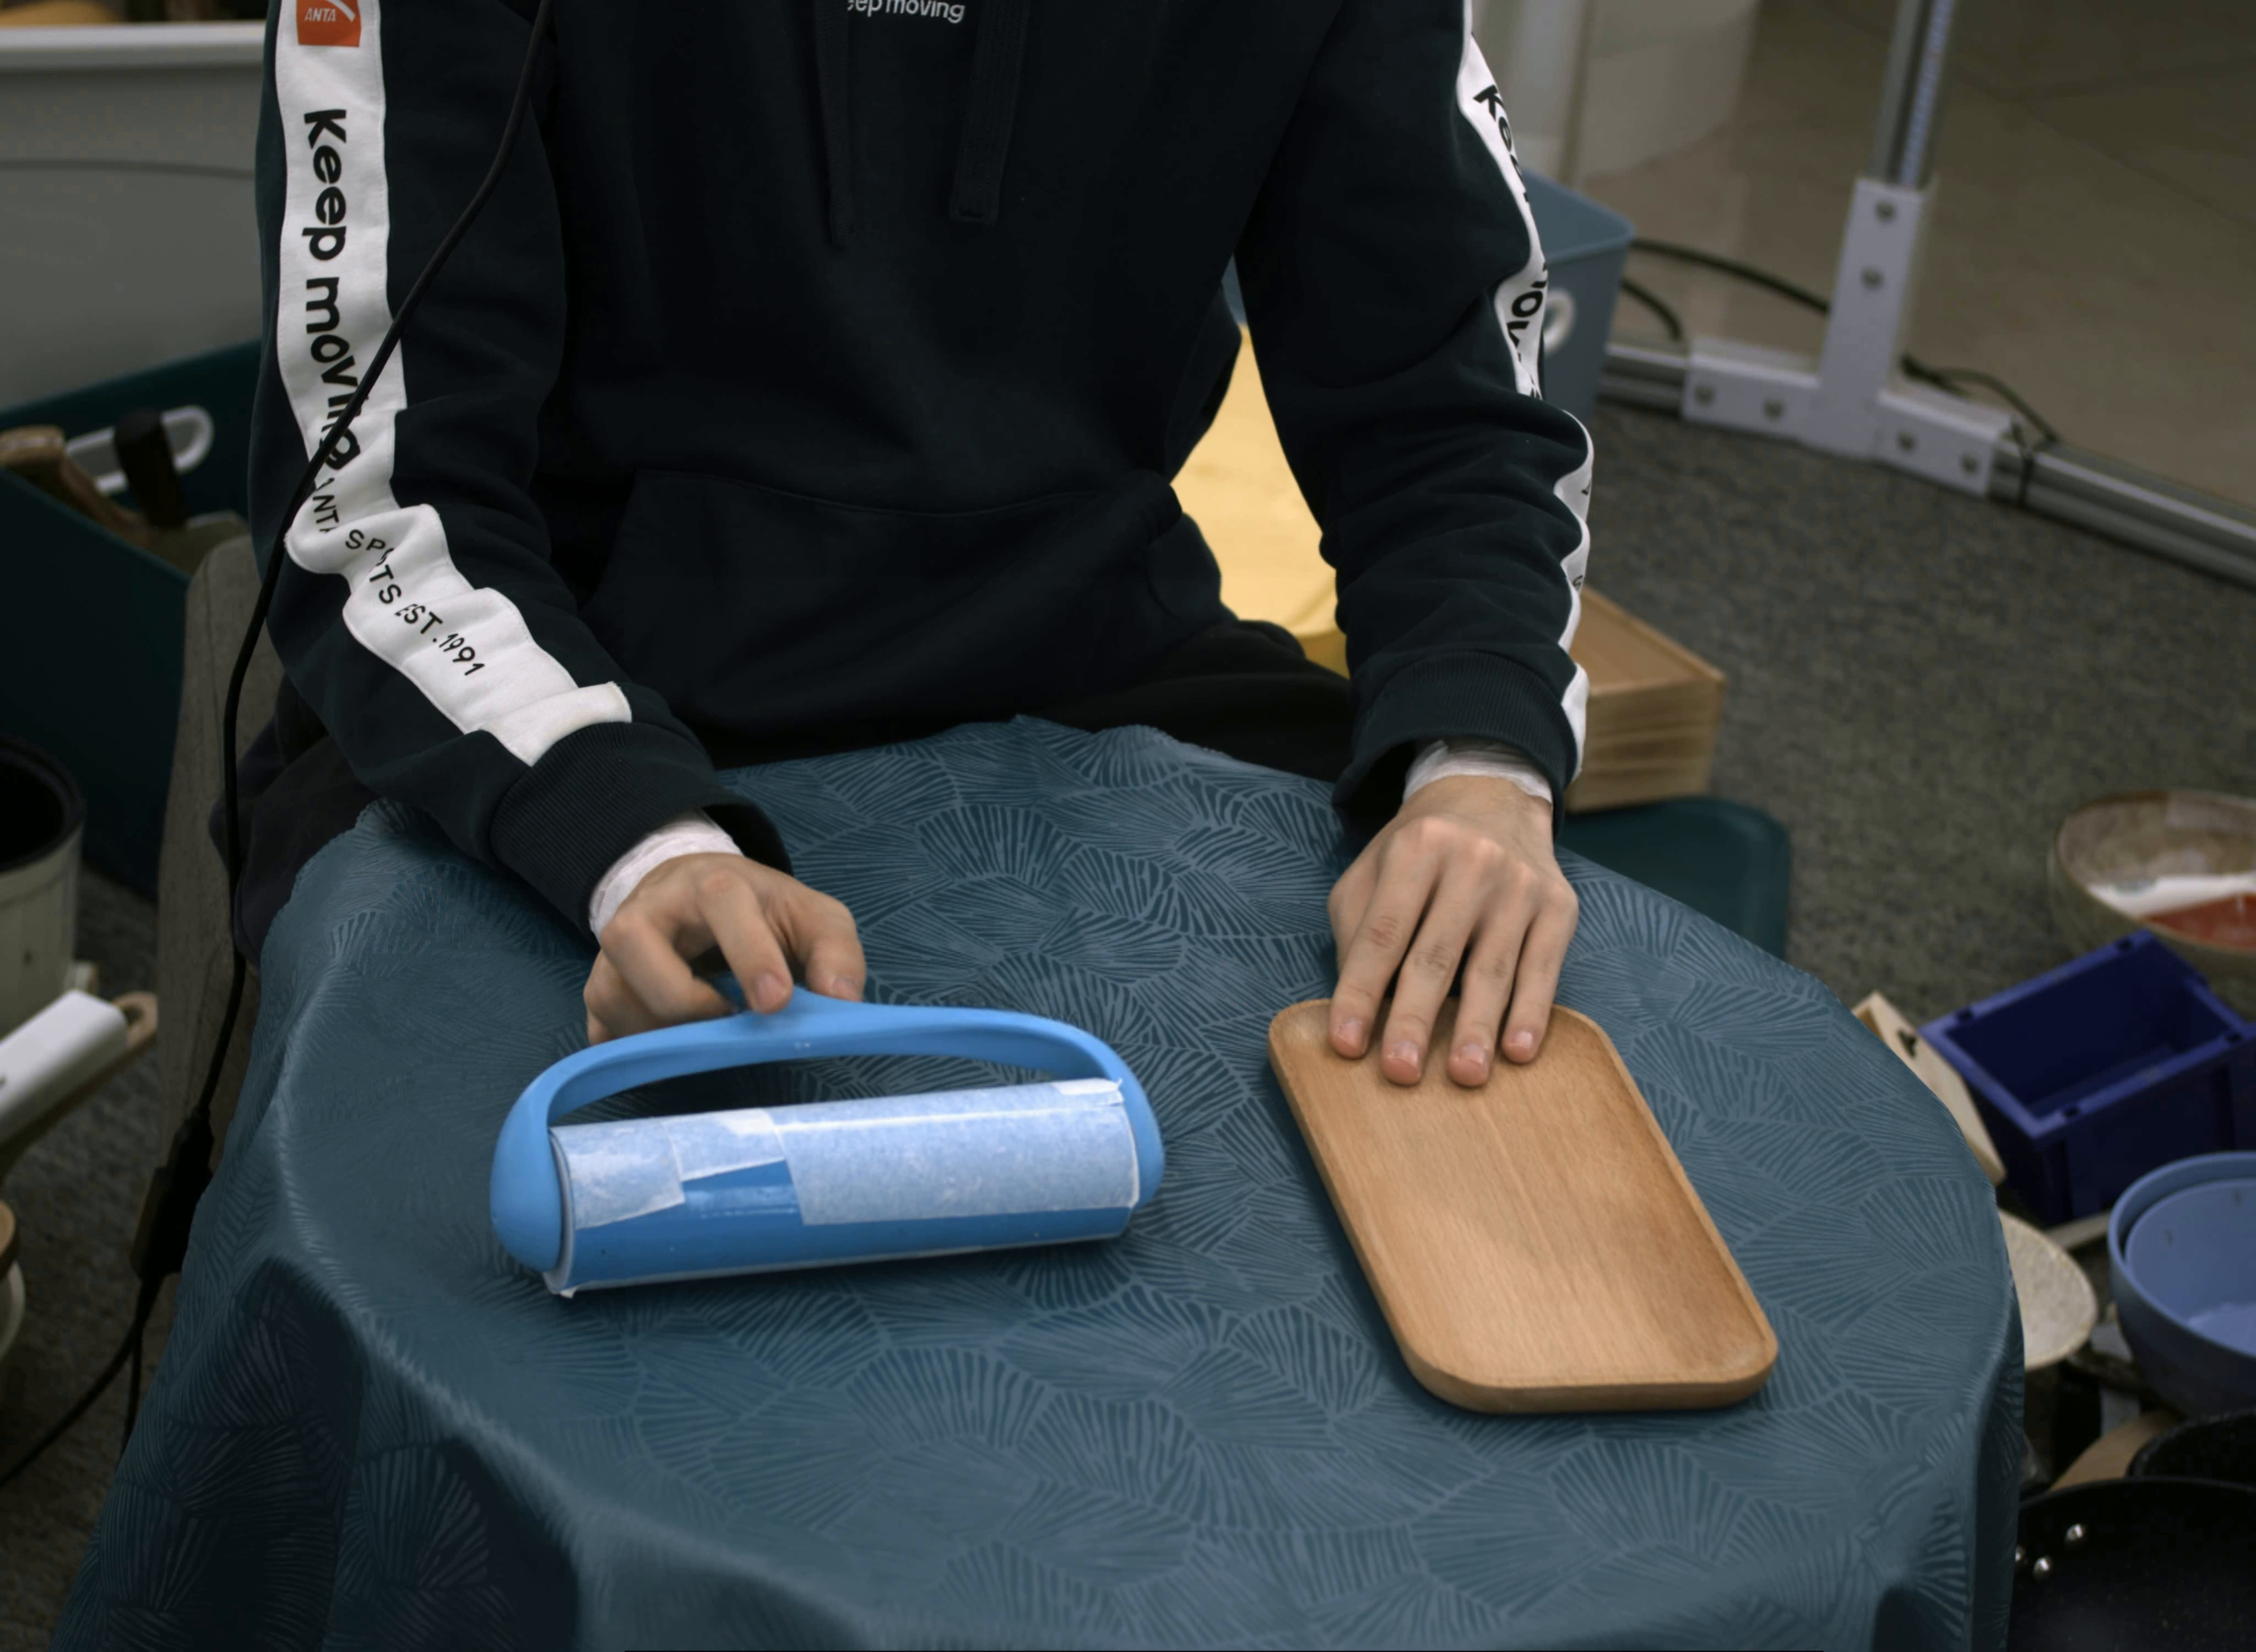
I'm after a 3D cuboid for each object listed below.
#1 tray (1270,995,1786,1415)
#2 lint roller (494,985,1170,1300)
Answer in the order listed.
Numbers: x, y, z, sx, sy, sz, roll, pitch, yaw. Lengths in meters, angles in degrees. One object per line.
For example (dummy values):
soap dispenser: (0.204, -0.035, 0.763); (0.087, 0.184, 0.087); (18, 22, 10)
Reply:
tray: (0.131, 0.125, 1.805); (0.130, 0.023, 0.252); (2, 27, -13)
lint roller: (-0.117, 0.088, 1.779); (0.227, 0.067, 0.182); (-7, 31, -21)
